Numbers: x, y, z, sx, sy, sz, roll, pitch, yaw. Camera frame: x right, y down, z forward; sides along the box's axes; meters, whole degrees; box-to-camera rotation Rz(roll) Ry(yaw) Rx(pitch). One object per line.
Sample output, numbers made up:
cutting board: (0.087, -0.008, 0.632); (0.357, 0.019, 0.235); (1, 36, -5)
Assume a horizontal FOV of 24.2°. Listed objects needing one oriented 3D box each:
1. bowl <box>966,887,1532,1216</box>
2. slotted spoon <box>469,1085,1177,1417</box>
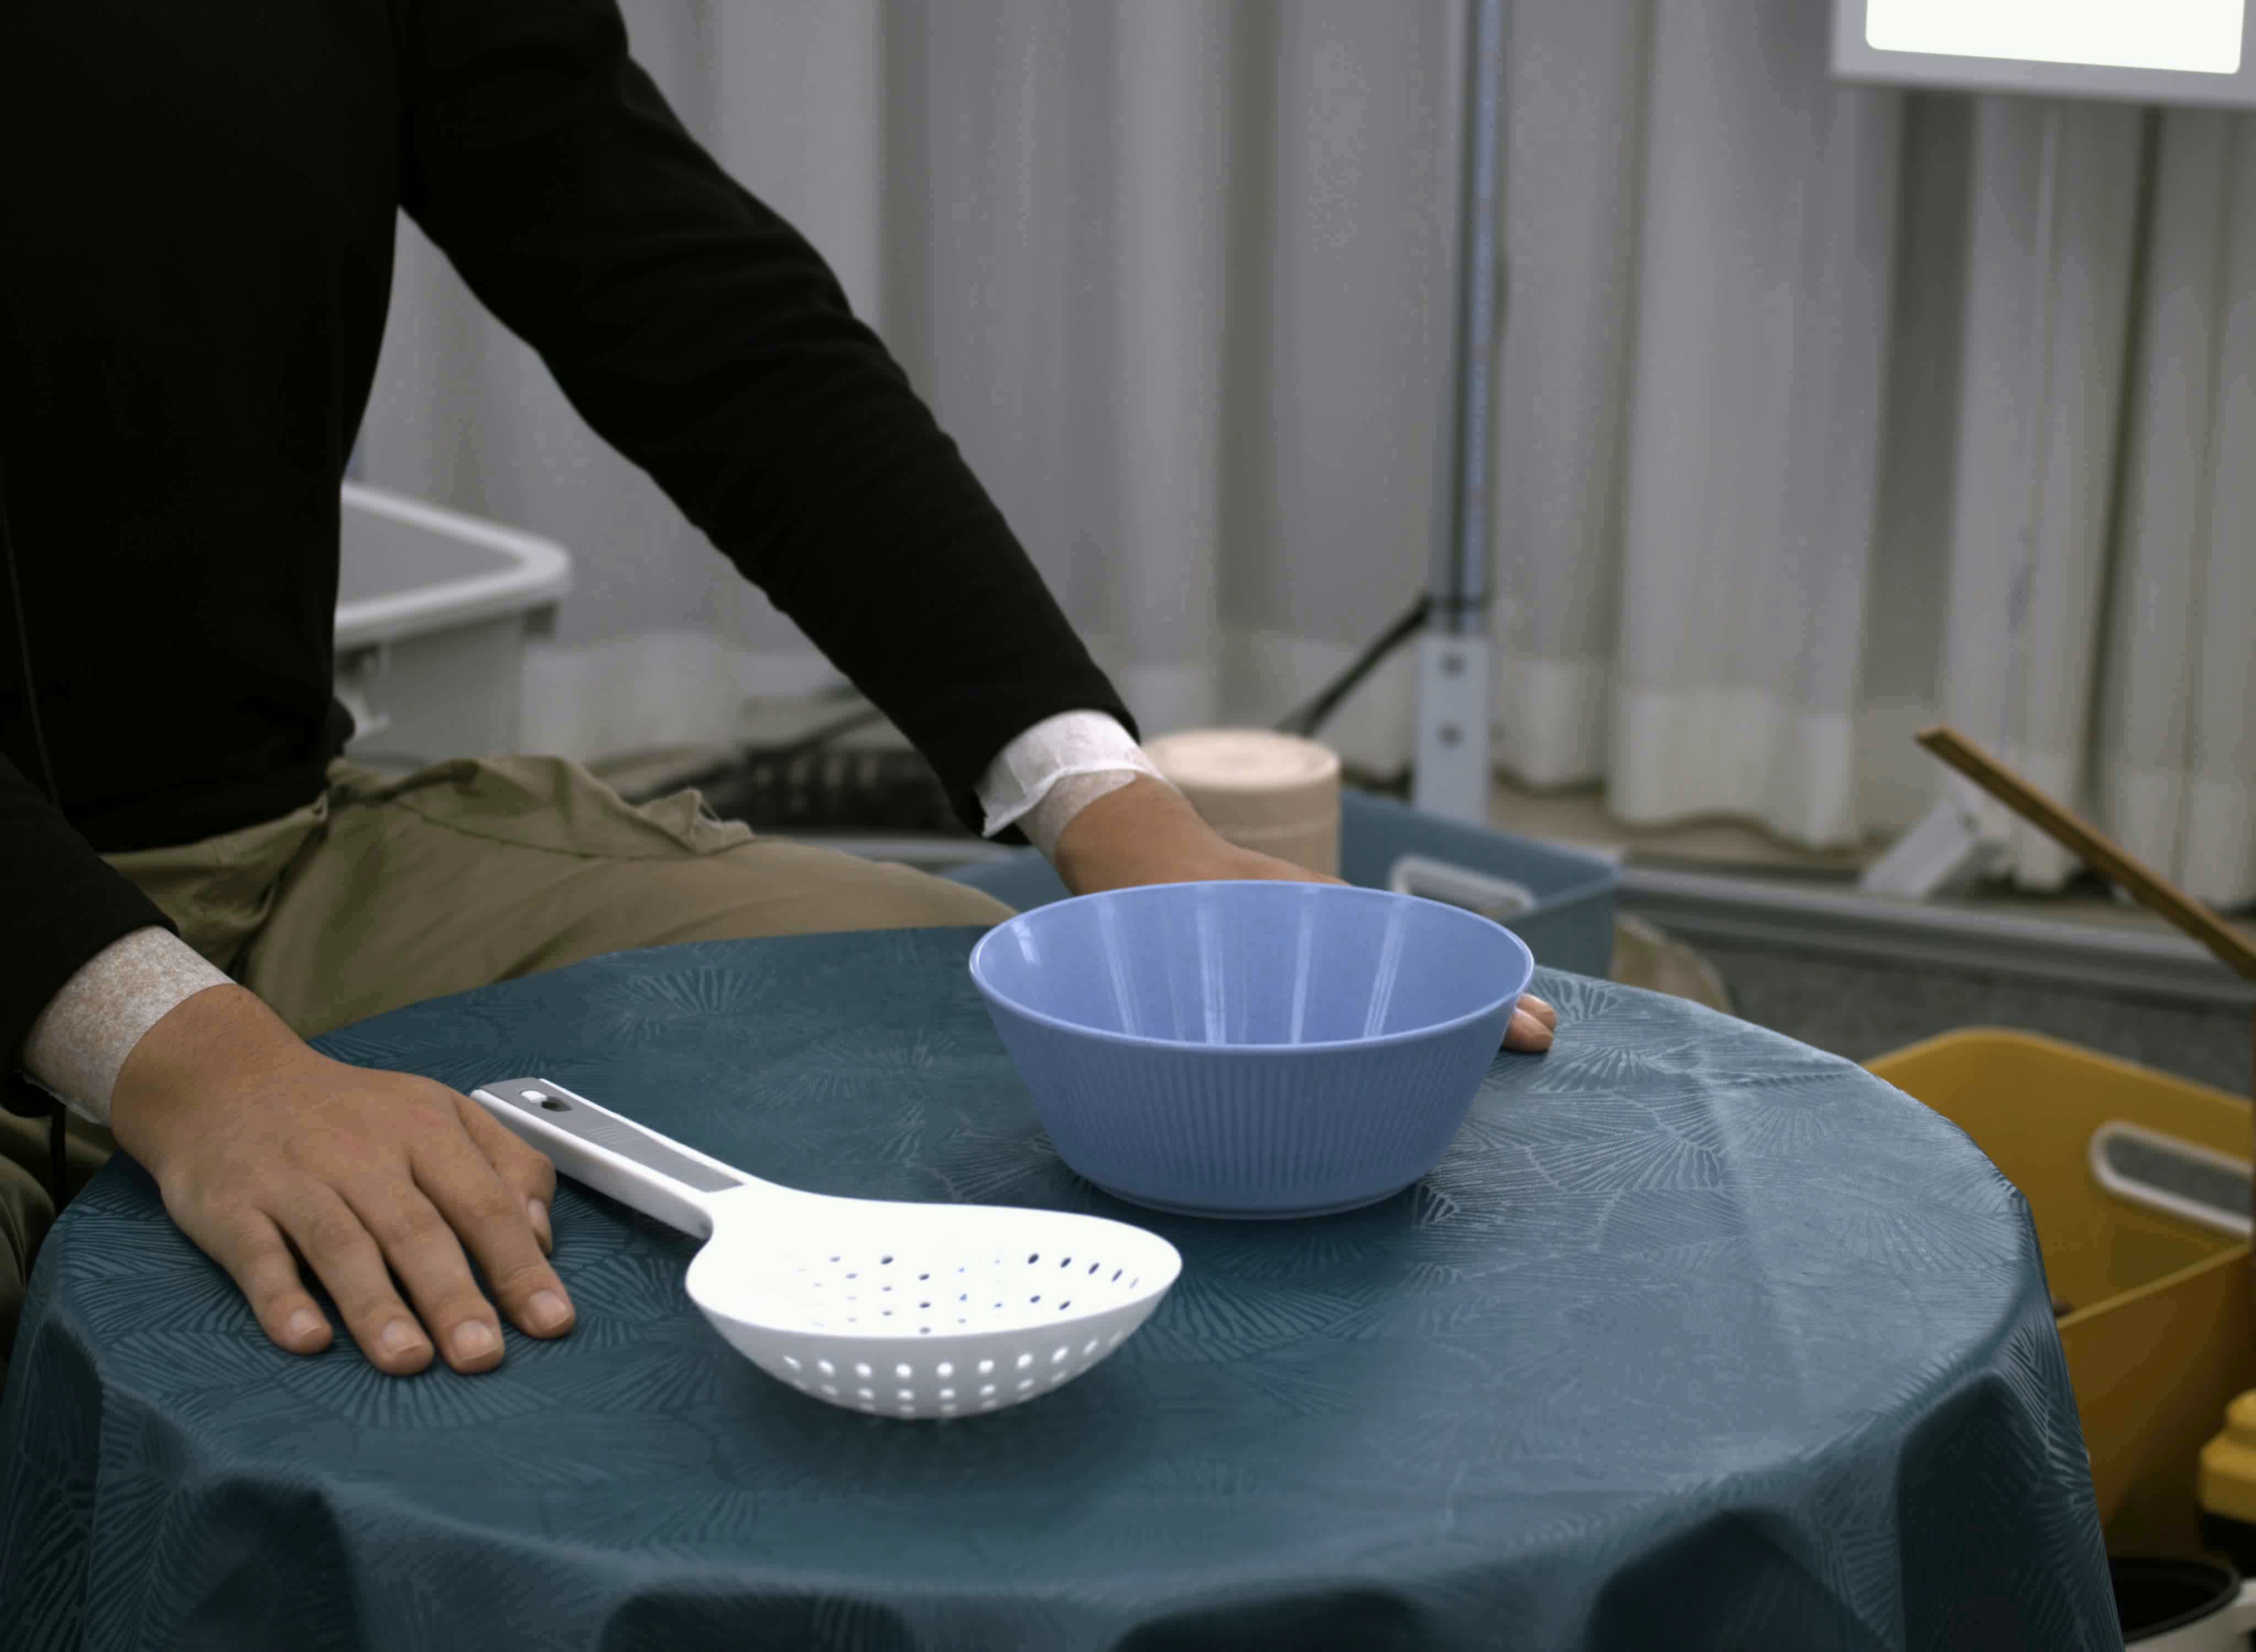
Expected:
bowl: (0.038, 0.072, 1.638); (0.175, 0.071, 0.175); (0, 15, 1)
slotted spoon: (-0.110, 0.113, 1.528); (0.136, 0.046, 0.345); (-9, 17, -31)
